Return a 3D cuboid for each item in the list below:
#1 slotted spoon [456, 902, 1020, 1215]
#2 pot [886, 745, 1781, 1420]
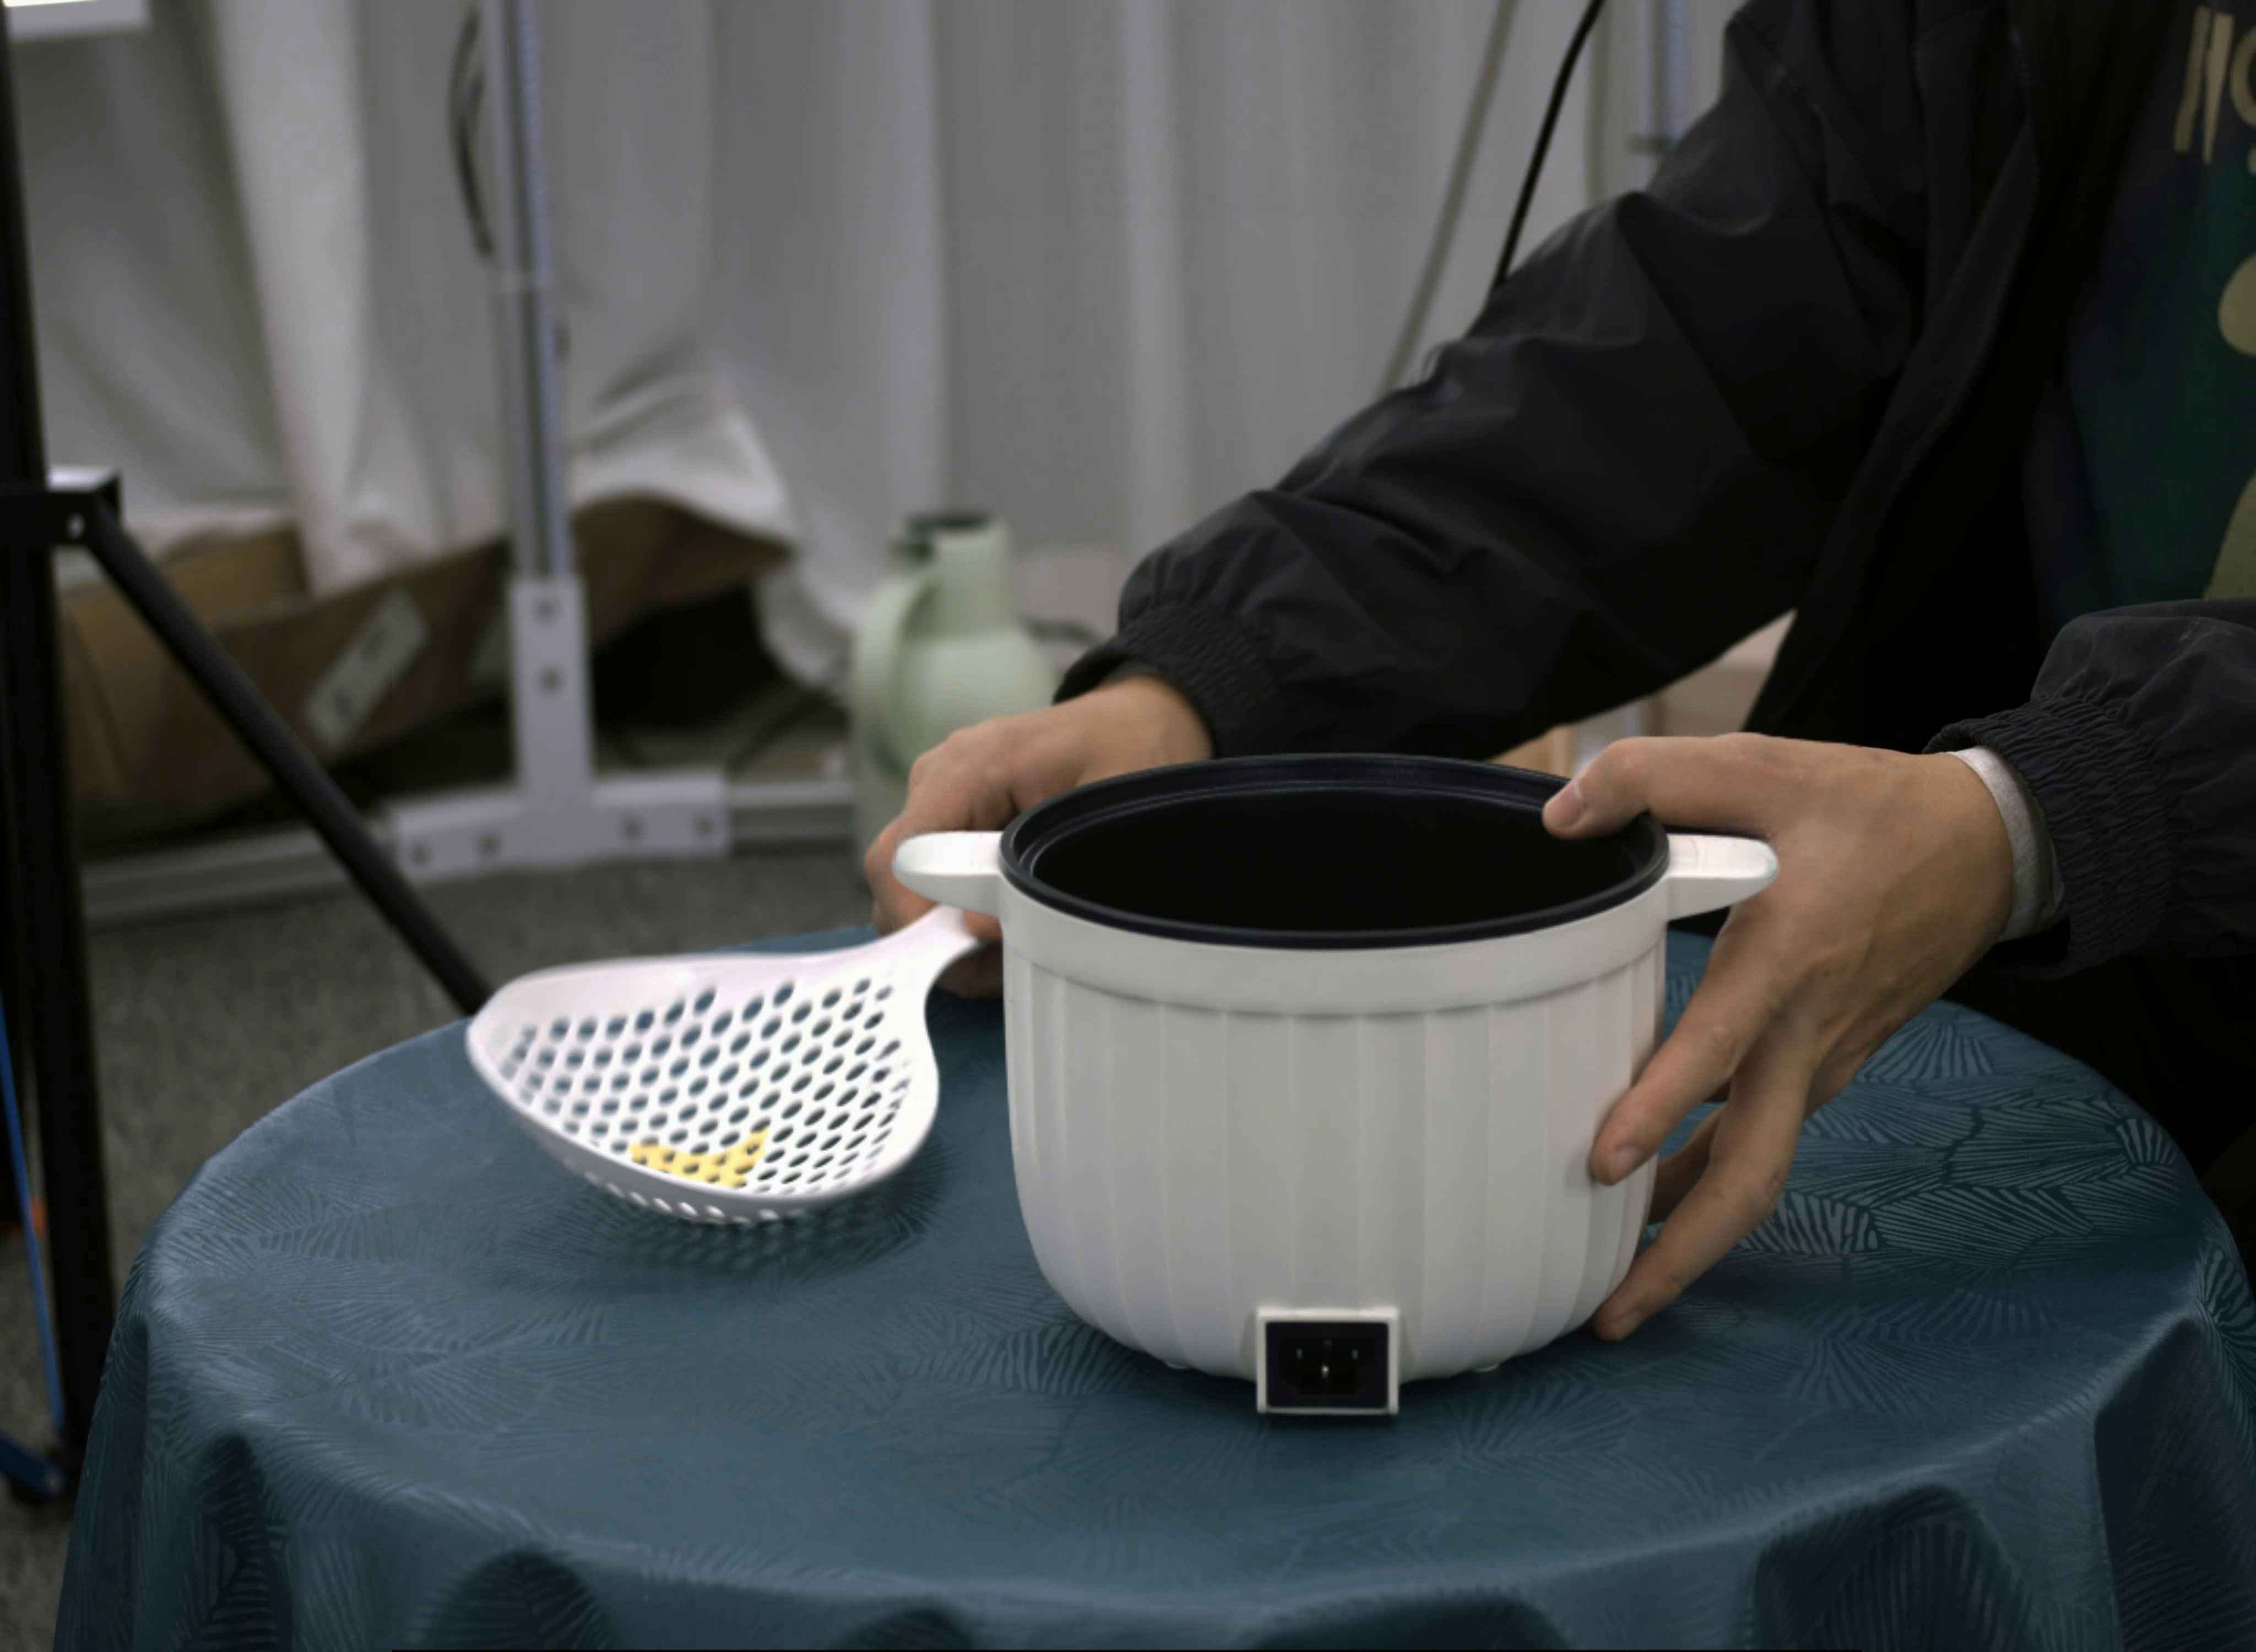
[{"bbox_3d":[-0.083,0.057,1.659,0.139,0.050,0.343,18,24,21],"label":"slotted spoon"},{"bbox_3d":[0.054,0.066,1.444,0.240,0.142,0.191,1,19,4],"label":"pot"}]
